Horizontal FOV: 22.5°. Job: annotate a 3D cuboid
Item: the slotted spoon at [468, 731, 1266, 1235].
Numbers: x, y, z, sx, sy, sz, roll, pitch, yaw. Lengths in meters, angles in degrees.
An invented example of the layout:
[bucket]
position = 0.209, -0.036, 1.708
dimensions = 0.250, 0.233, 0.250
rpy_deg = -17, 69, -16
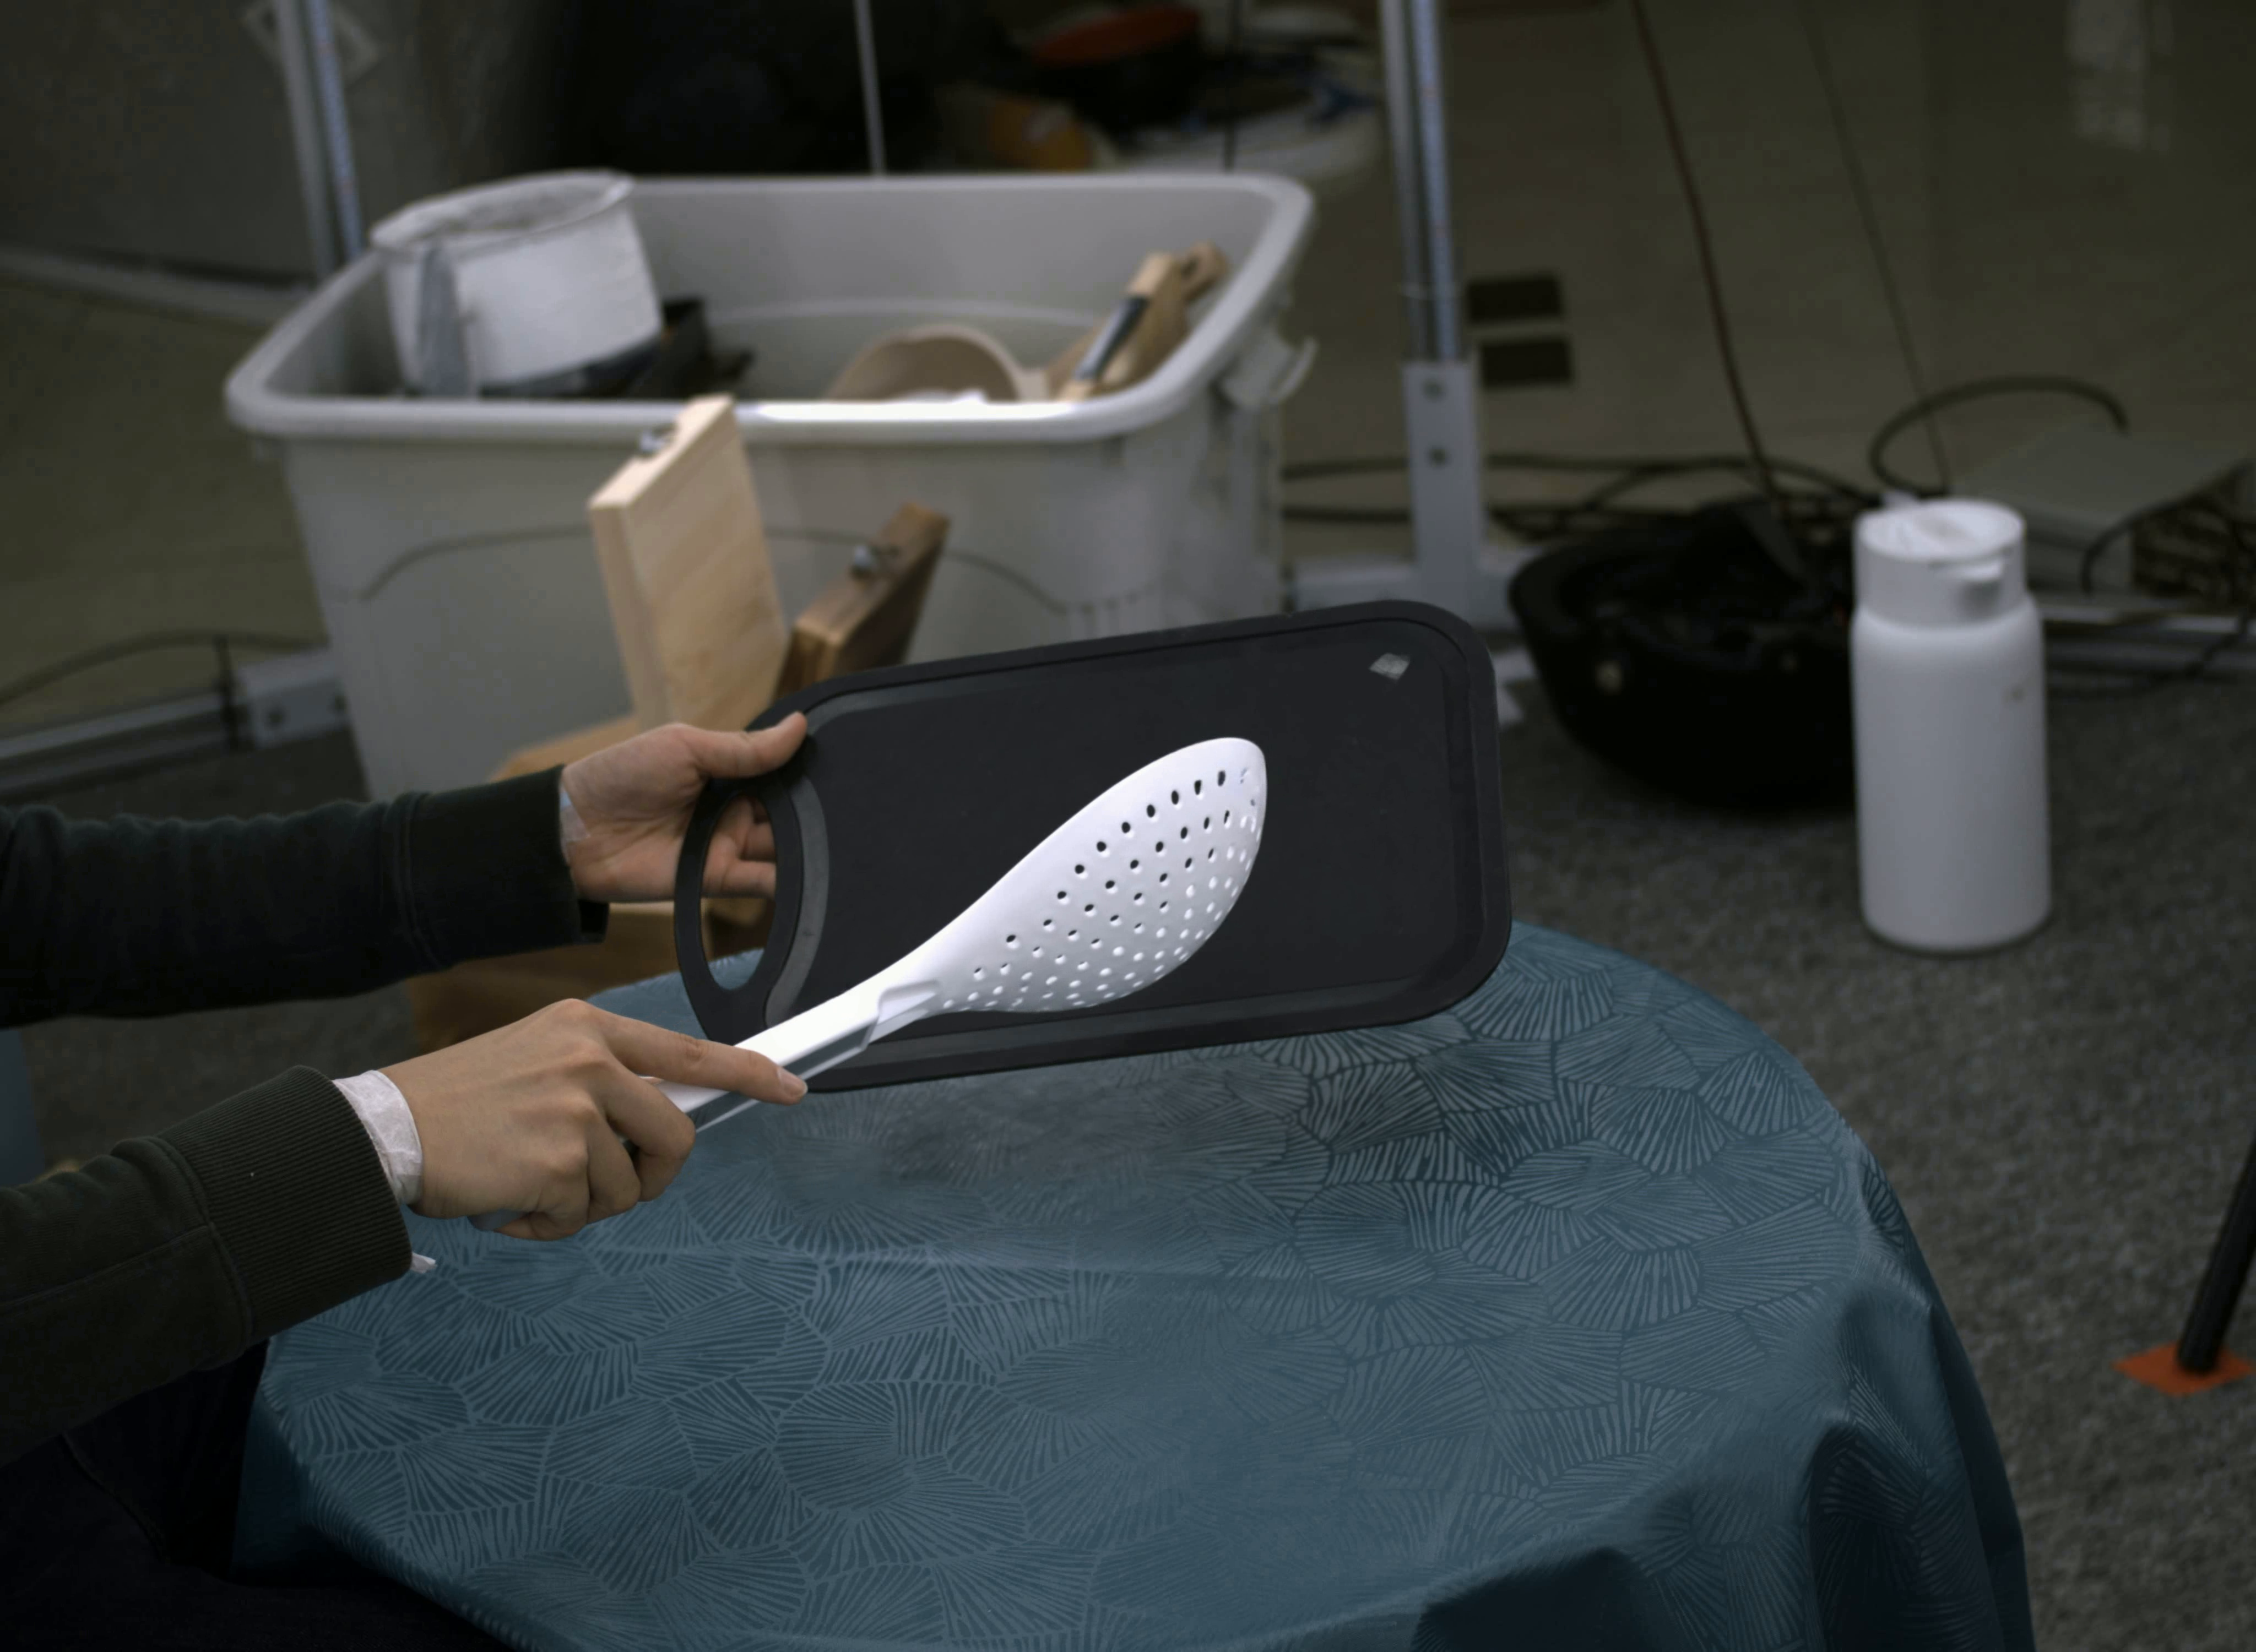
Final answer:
[slotted spoon]
position = -0.083, 0.061, 1.977
dimensions = 0.347, 0.138, 0.045
rpy_deg = -21, 62, -29

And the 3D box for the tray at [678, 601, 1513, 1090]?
[tray]
position = -0.016, 0.006, 2.174
dimensions = 0.325, 0.010, 0.207
rpy_deg = -7, 51, 8
